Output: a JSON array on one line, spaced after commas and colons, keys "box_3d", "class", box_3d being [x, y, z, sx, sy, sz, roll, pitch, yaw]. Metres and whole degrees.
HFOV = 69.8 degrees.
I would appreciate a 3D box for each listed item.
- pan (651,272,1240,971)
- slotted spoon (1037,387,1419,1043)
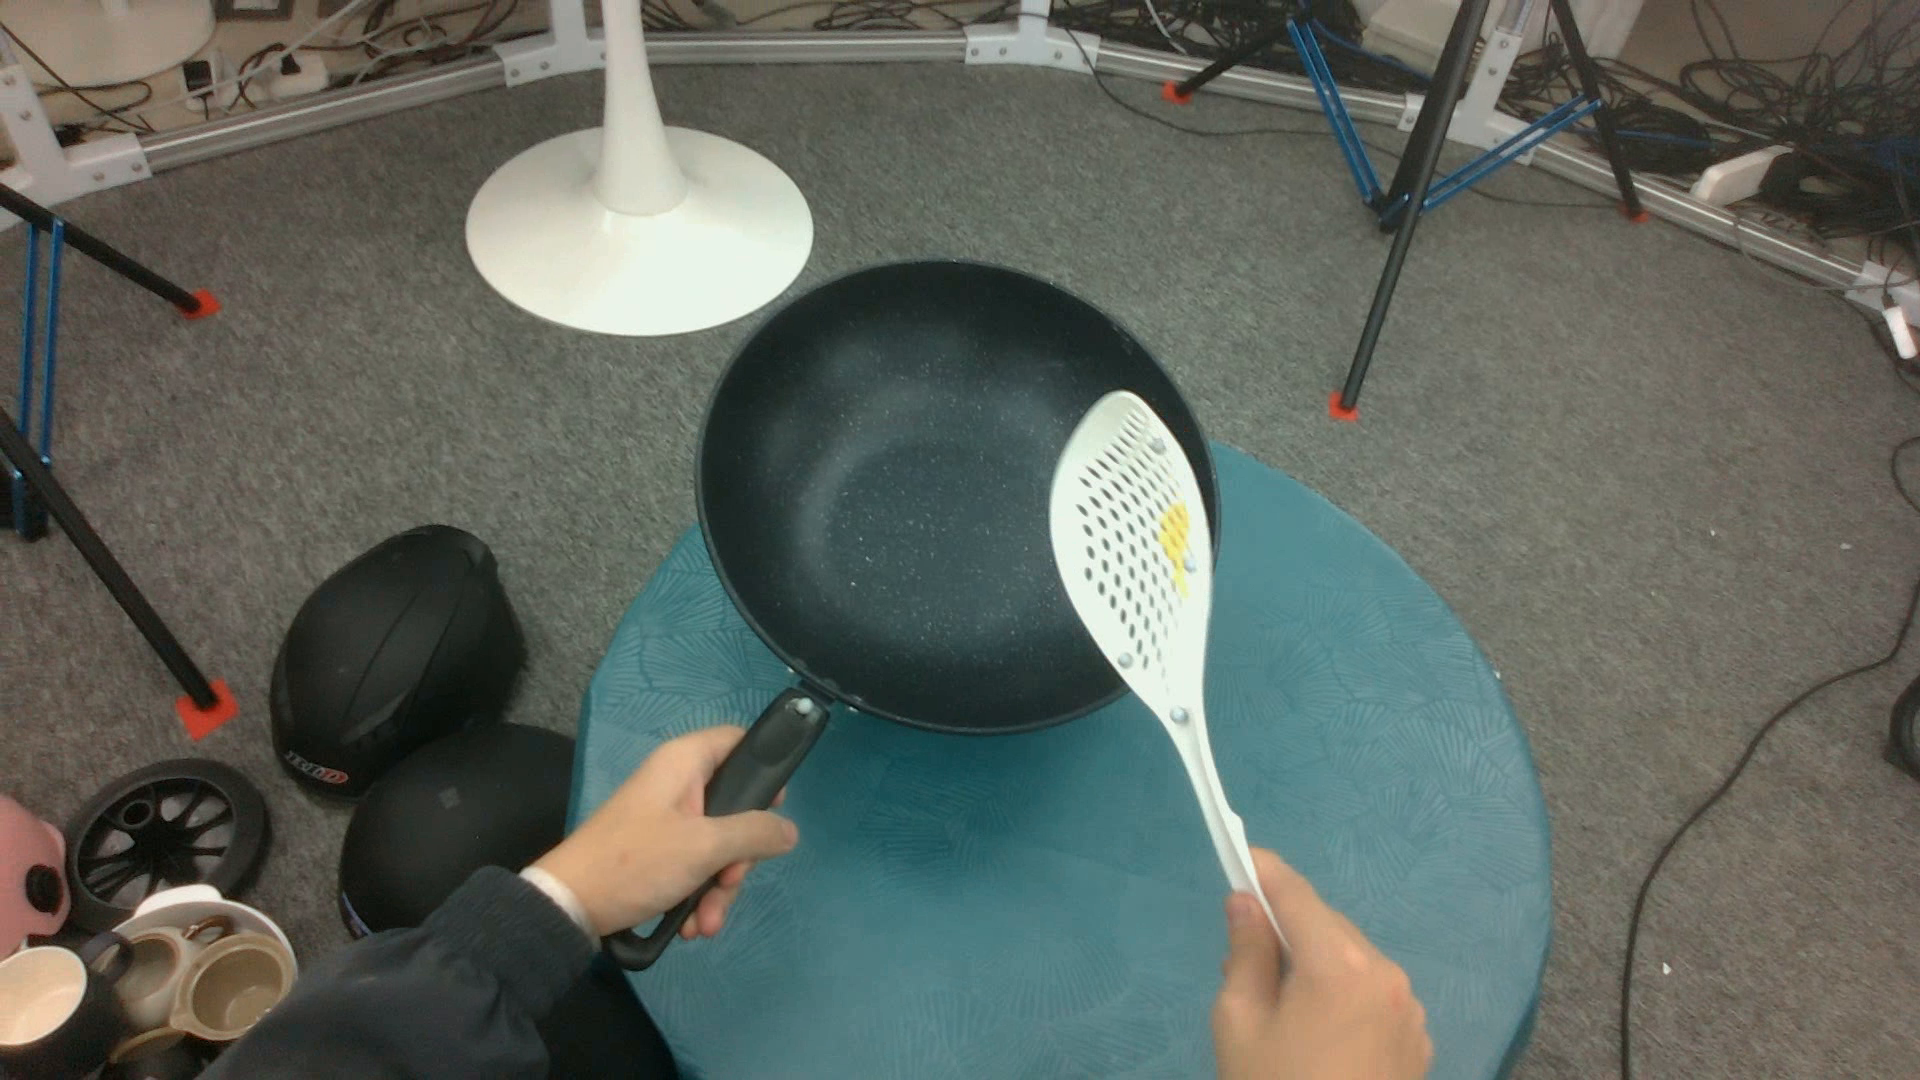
[{"box_3d": [-0.028, 0.042, 0.801, 0.310, 0.111, 0.479, 28, 63, 8], "class": "pan"}, {"box_3d": [0.126, 0.080, 0.681, 0.050, 0.136, 0.349, -6, 60, -24], "class": "slotted spoon"}]
